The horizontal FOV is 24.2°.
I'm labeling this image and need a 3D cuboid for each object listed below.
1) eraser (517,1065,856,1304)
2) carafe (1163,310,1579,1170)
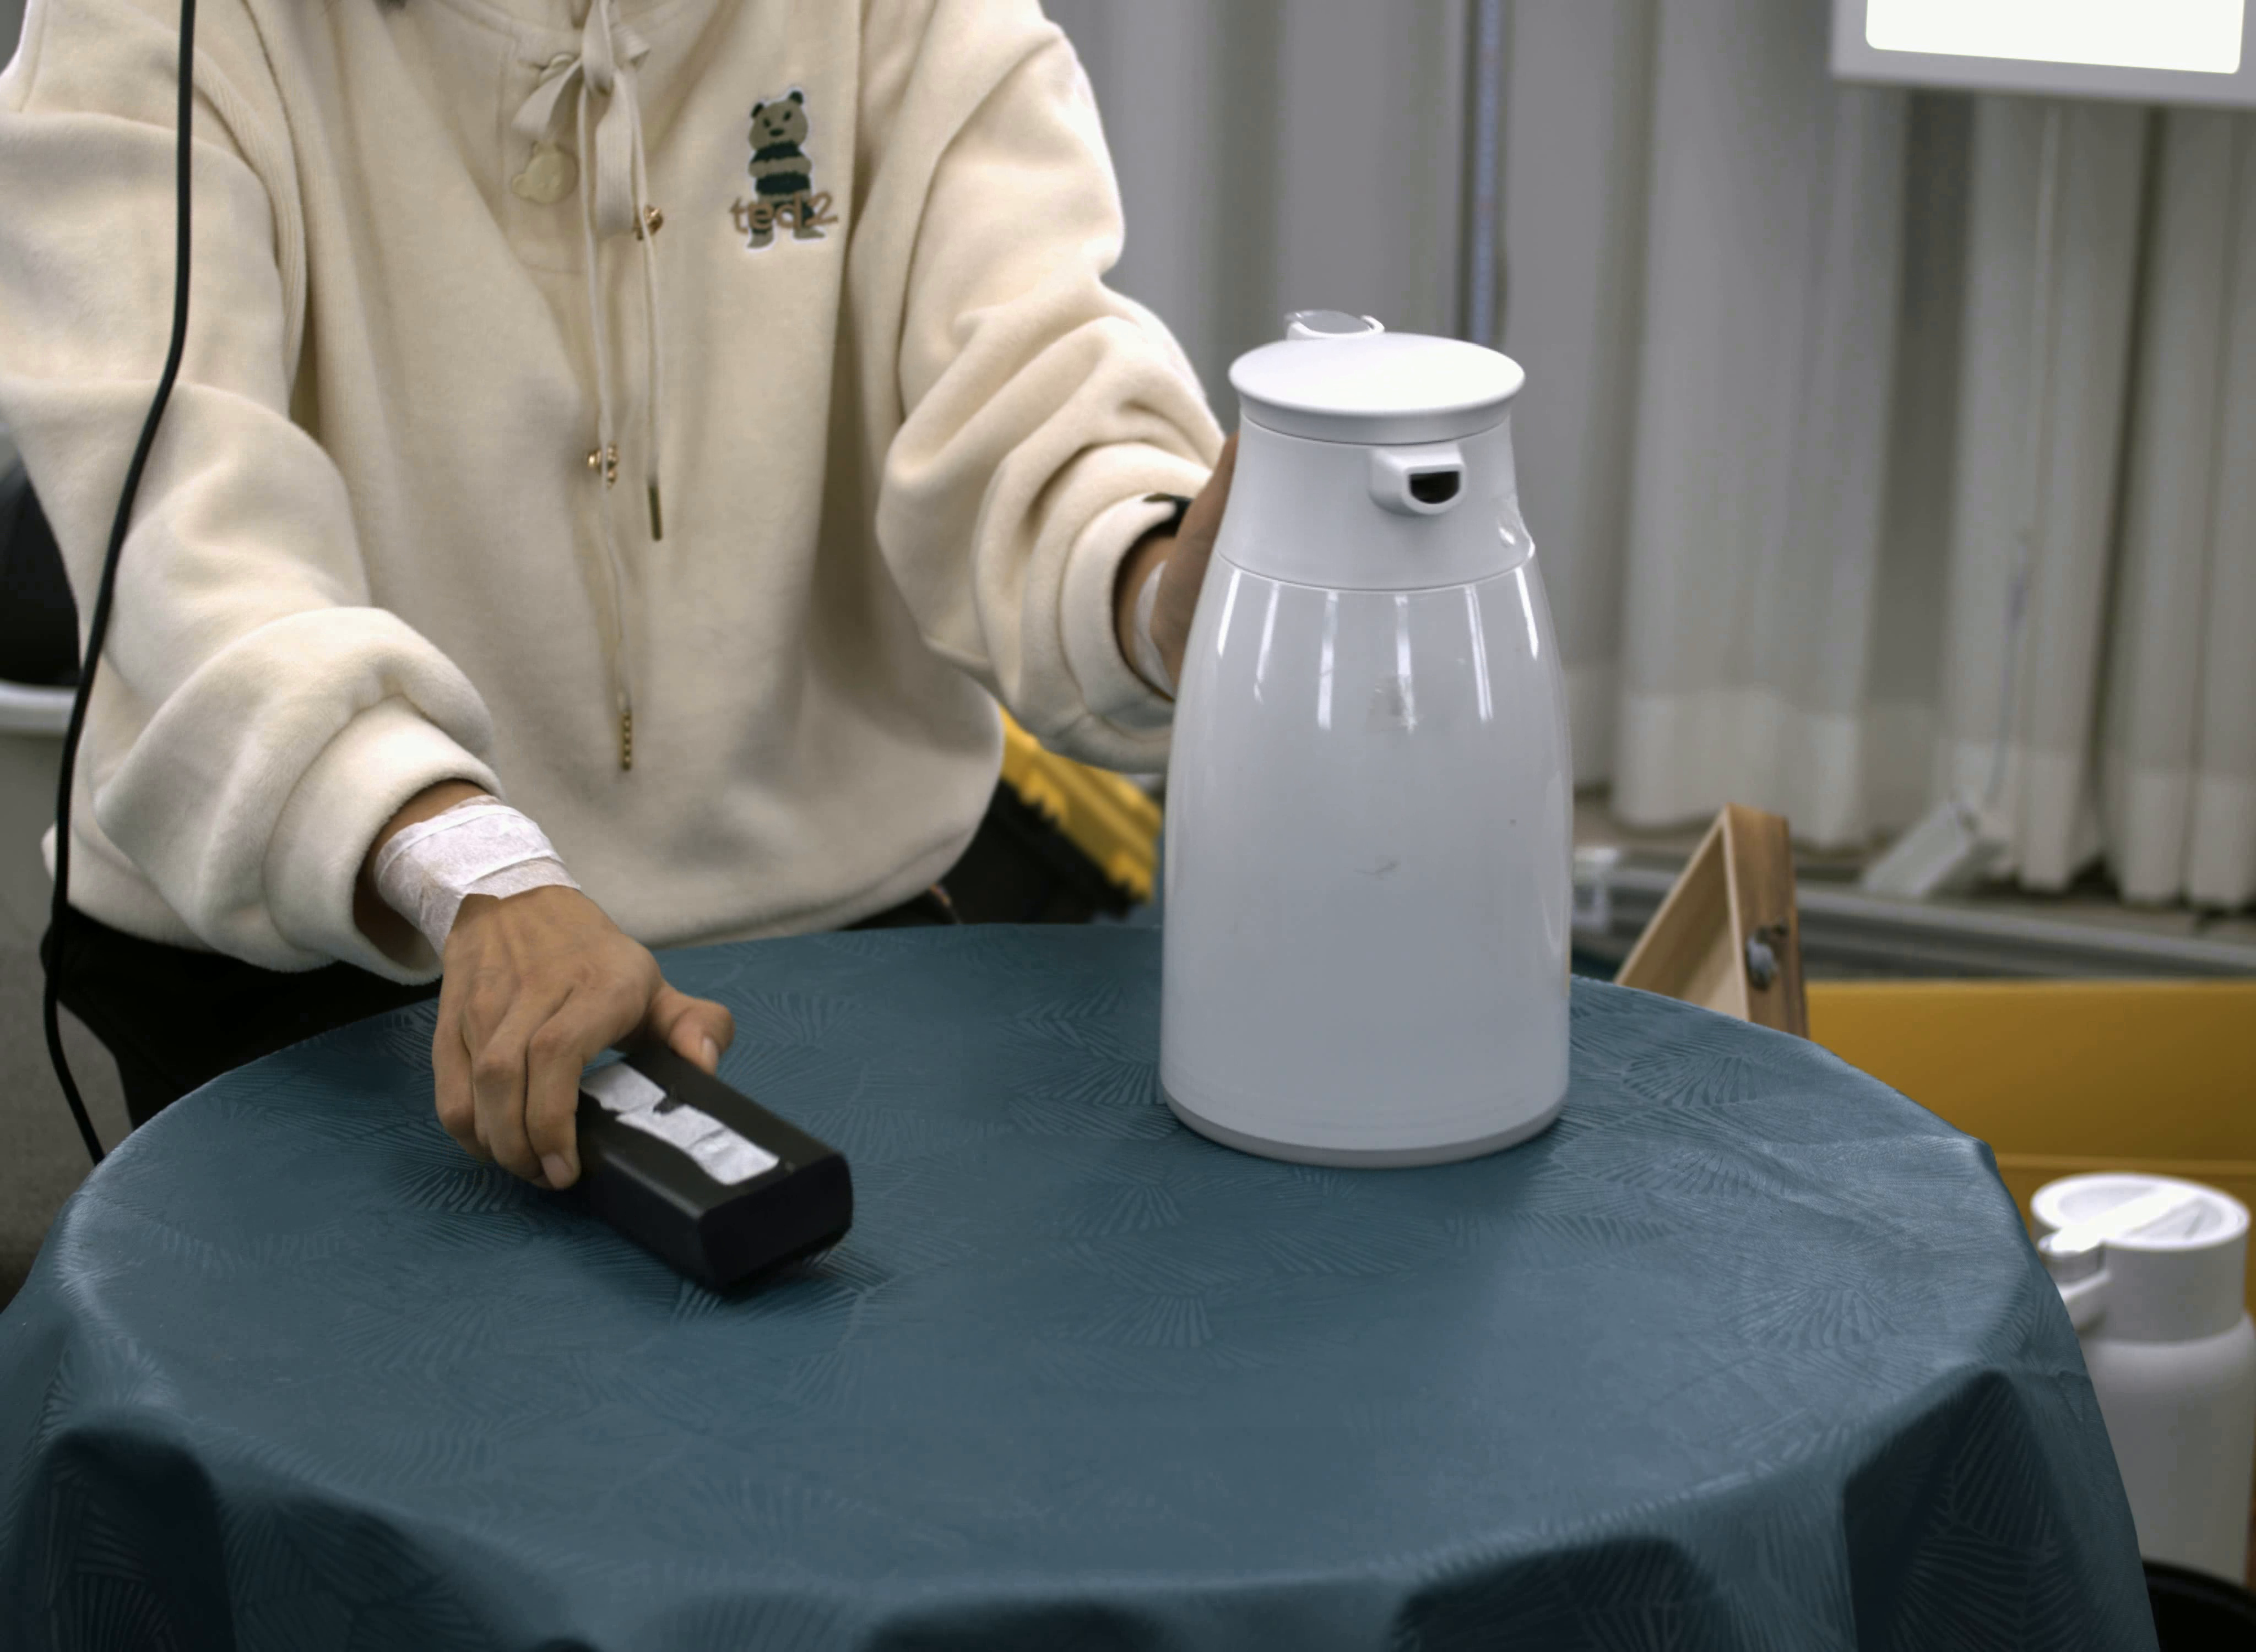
[{"bbox_3d":[-0.132,0.106,1.572,0.053,0.031,0.124,-20,23,-27],"label":"eraser"},{"bbox_3d":[0.072,-0.036,1.675,0.133,0.251,0.166,-5,19,-16],"label":"carafe"}]
